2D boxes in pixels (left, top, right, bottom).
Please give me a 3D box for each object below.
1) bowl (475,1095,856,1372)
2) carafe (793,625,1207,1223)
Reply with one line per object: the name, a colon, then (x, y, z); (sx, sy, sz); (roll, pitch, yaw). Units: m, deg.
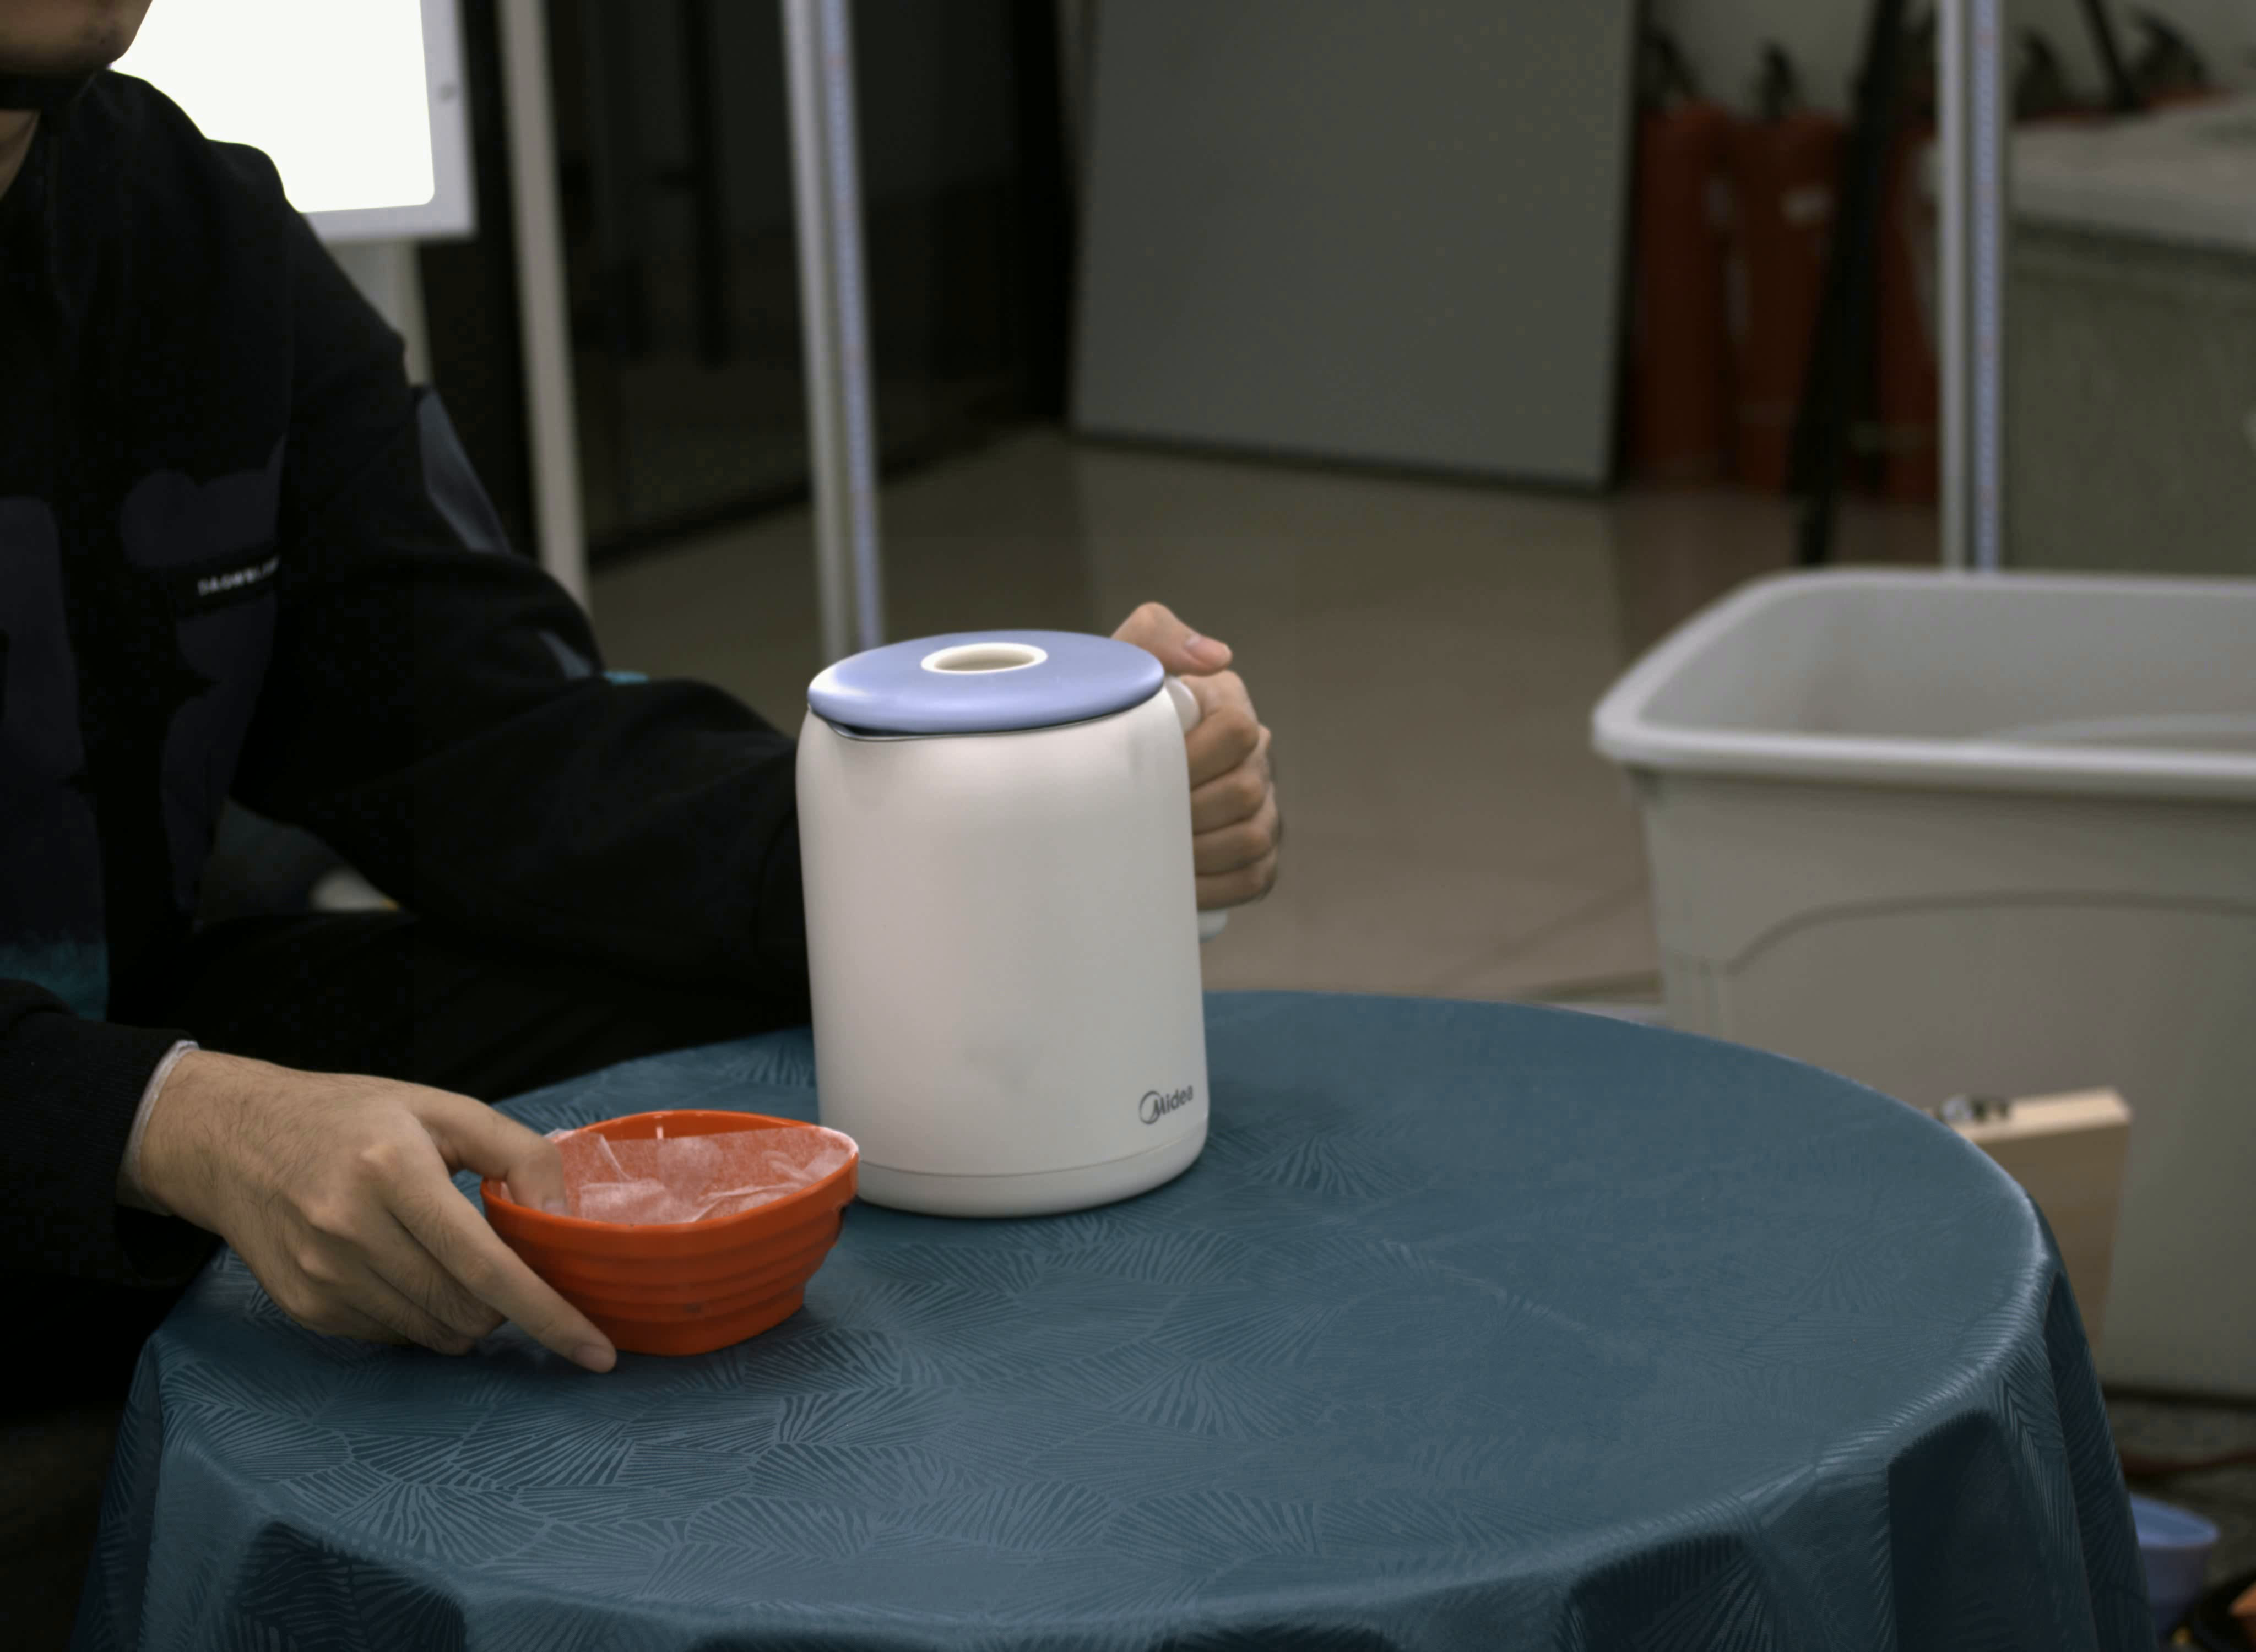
bowl: (-0.141, 0.129, 1.673); (0.117, 0.052, 0.119); (-4, 21, 1)
carafe: (-0.030, 0.026, 1.807); (0.133, 0.184, 0.187); (7, 15, 35)
